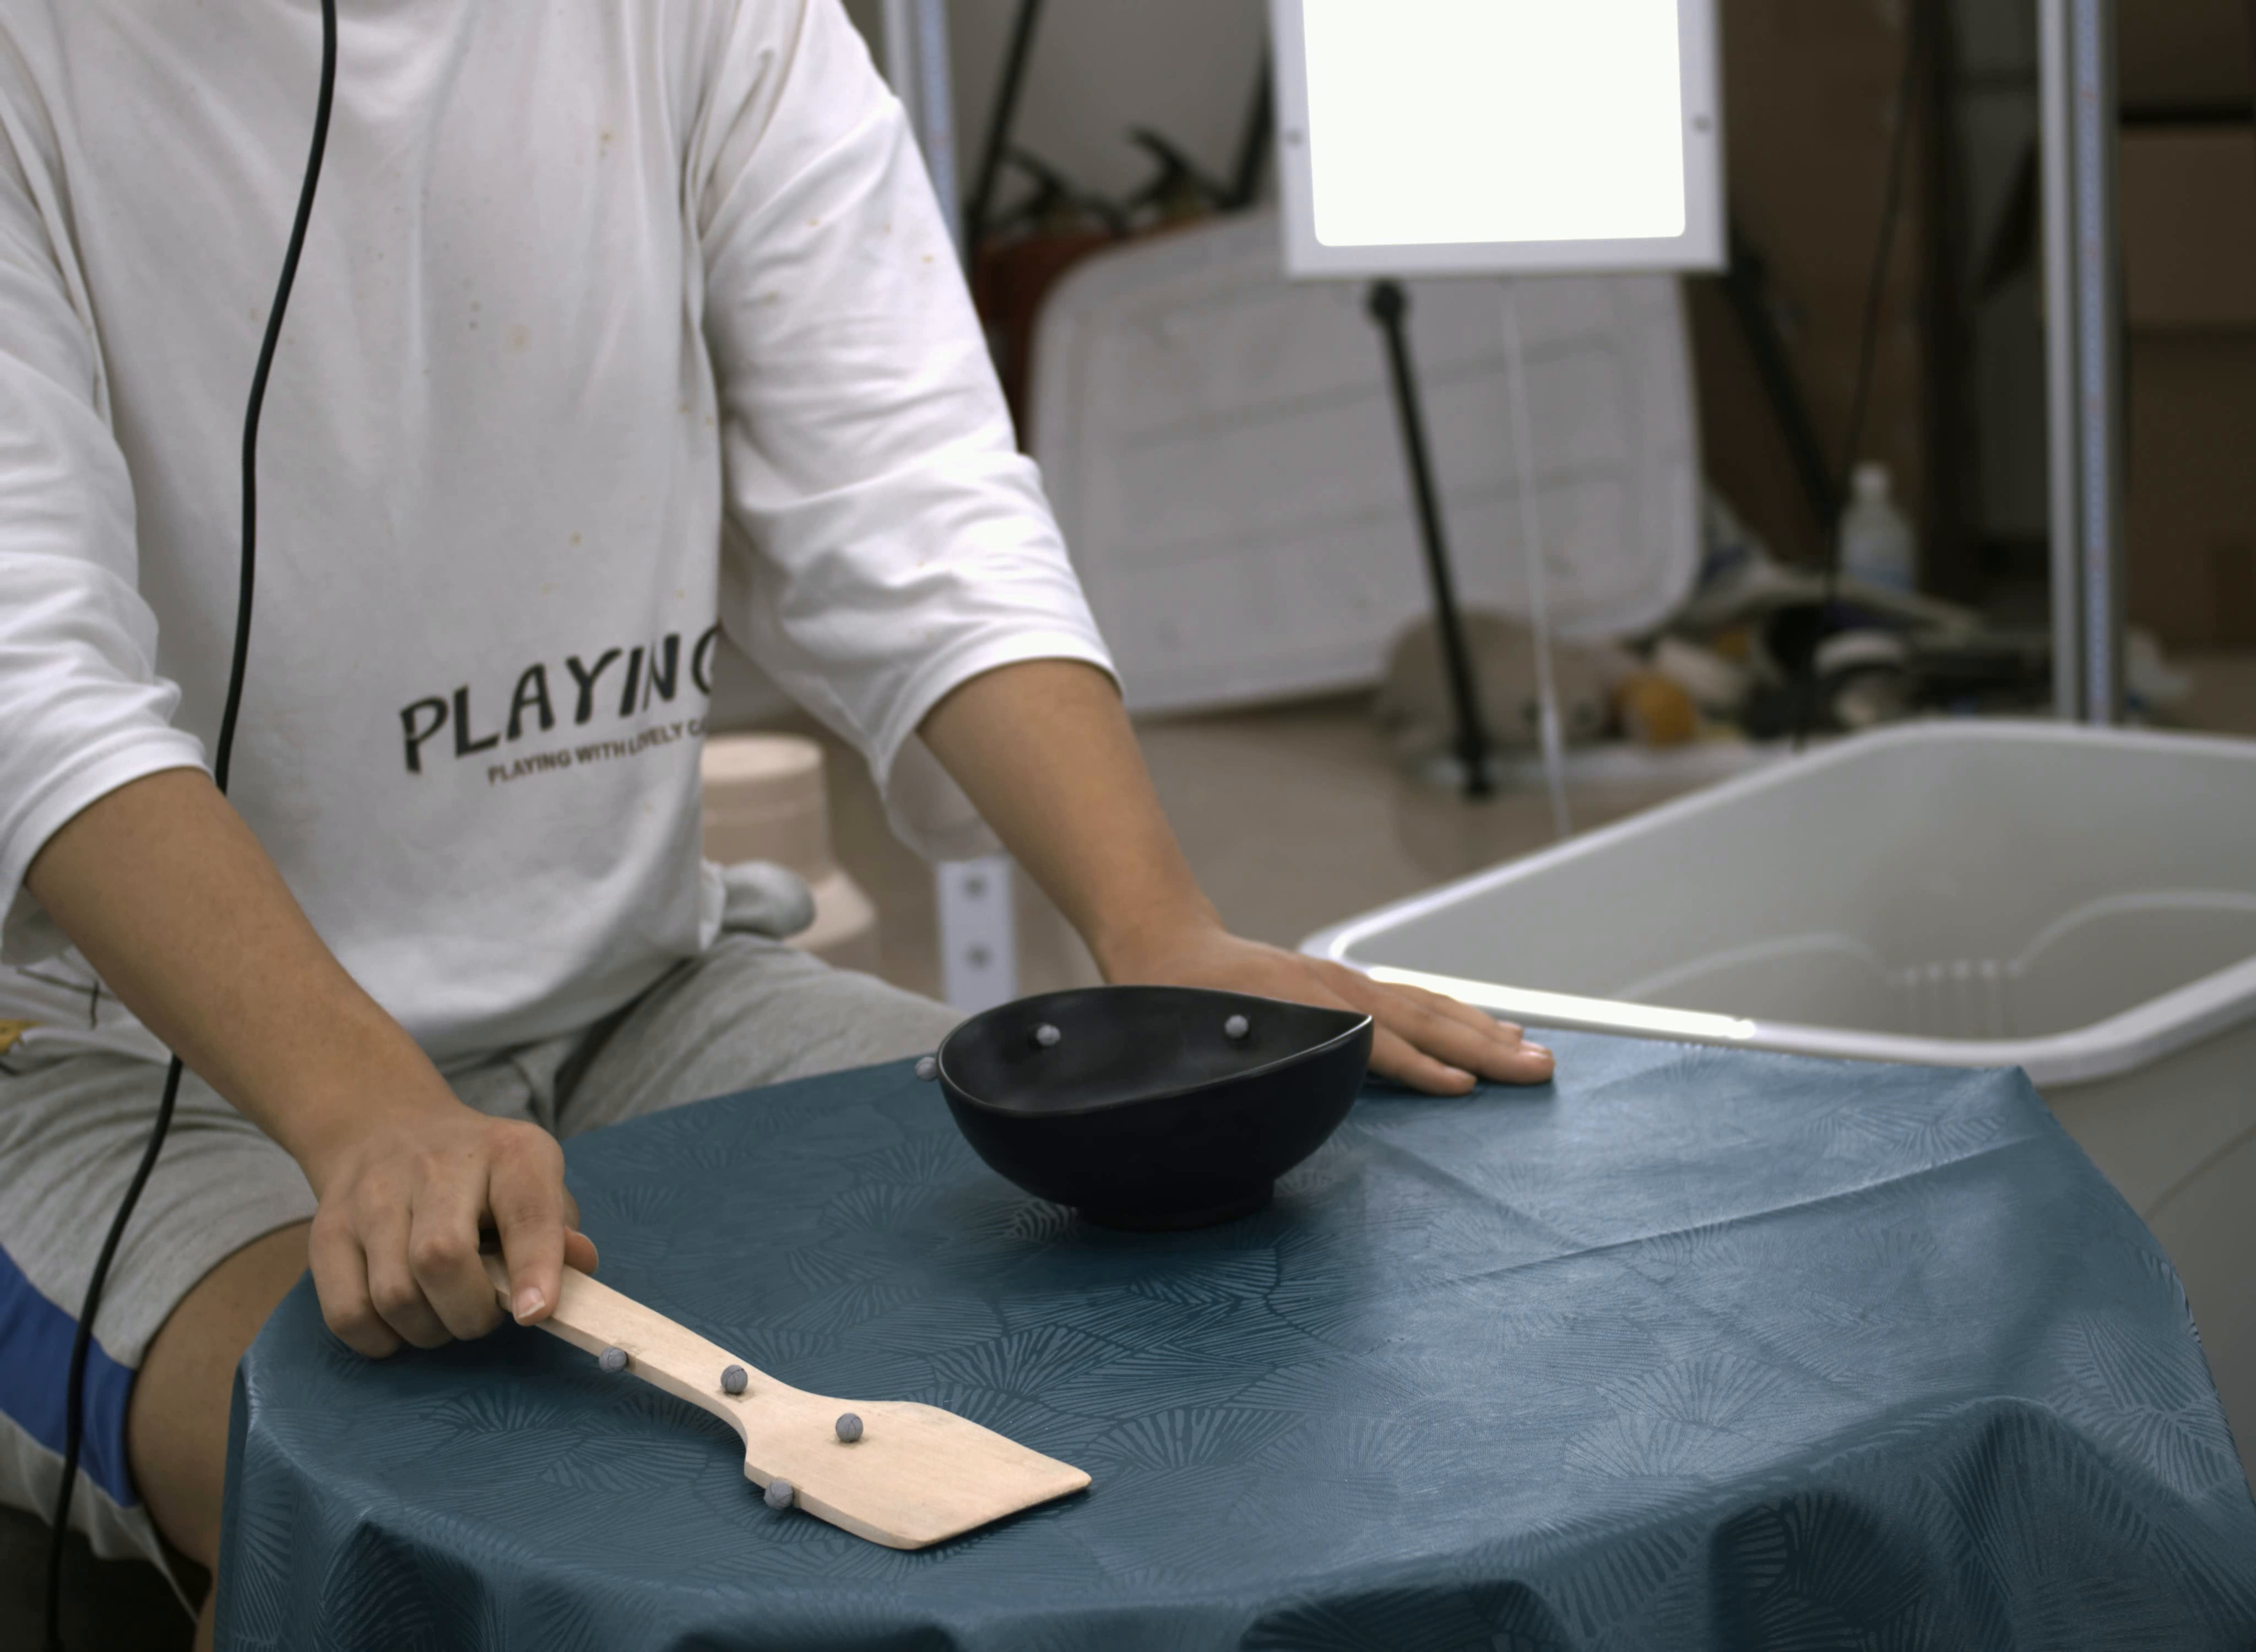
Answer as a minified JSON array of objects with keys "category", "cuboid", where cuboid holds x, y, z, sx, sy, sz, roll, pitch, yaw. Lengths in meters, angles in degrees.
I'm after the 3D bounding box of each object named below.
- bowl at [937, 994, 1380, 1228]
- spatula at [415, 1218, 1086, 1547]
[{"category":"bowl","cuboid":[0.013,0.098,1.878,0.140,0.067,0.166,6,15,40]},{"category":"spatula","cuboid":[-0.132,0.168,1.706,0.070,0.011,0.299,-17,24,-37]}]
